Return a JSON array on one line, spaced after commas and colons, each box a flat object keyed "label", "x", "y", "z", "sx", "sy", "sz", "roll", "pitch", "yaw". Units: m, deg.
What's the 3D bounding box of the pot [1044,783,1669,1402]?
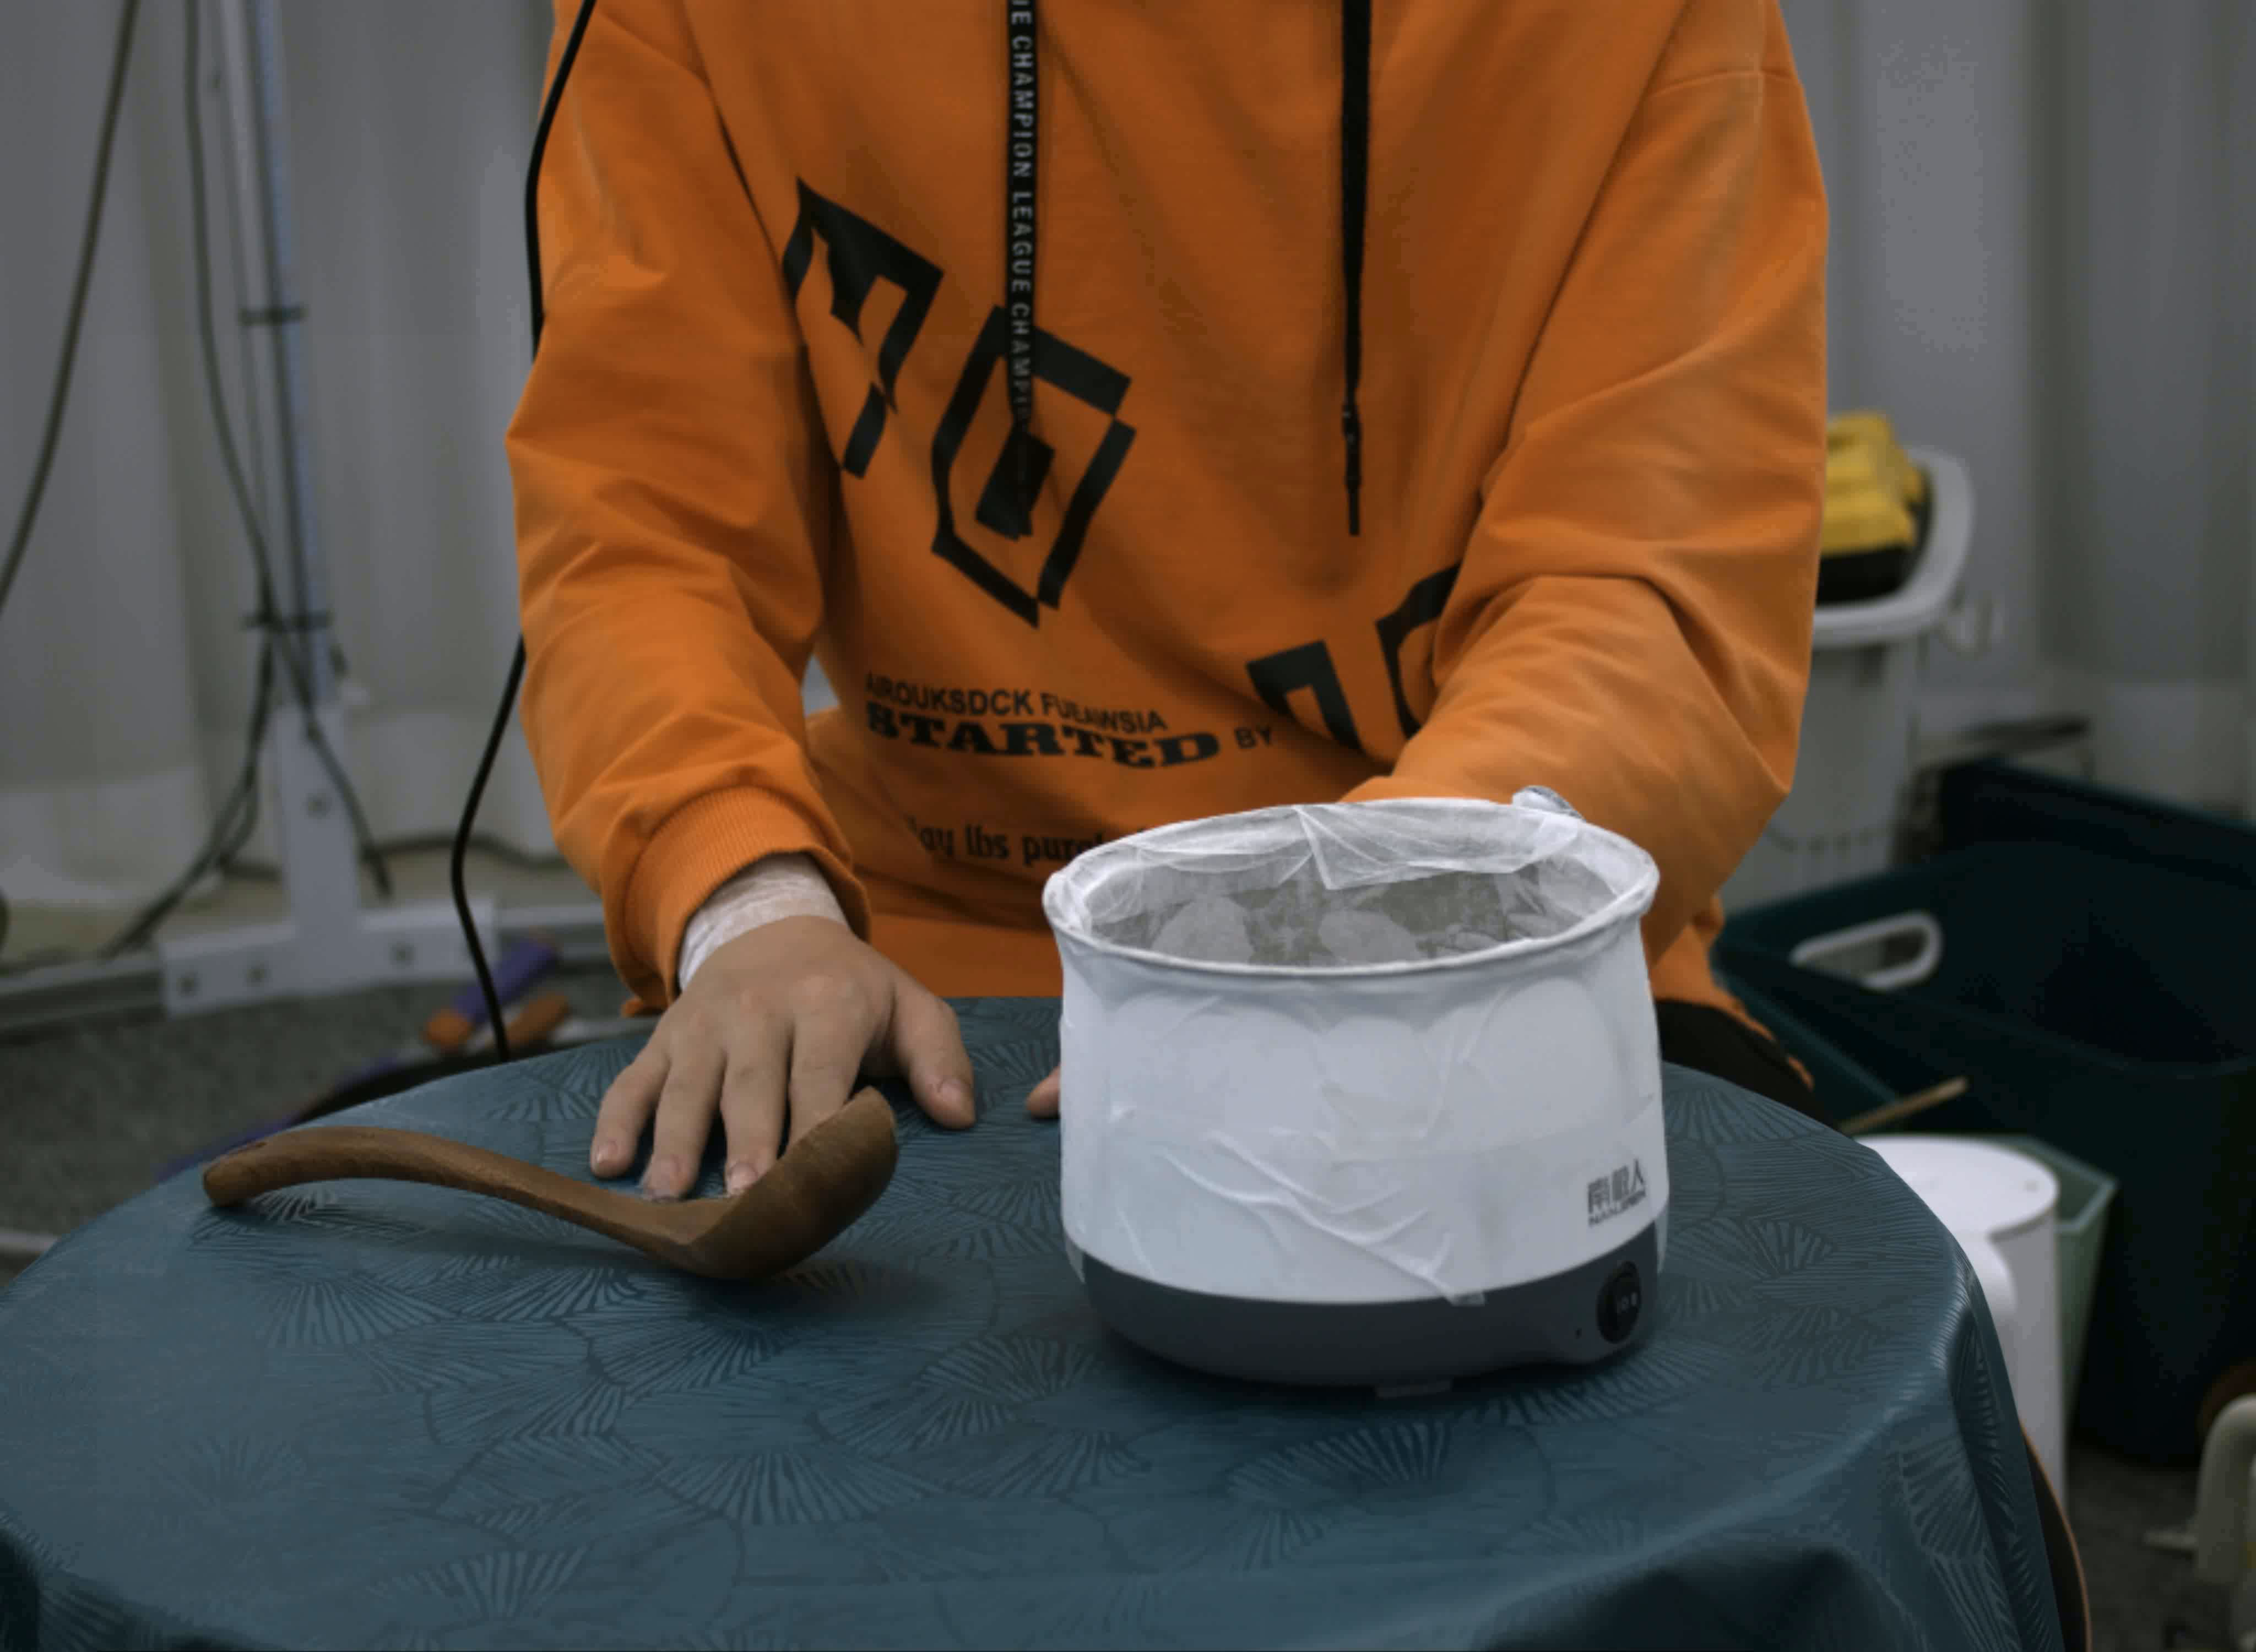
[{"label": "pot", "x": 0.083, "y": 0.070, "z": 1.601, "sx": 0.179, "sy": 0.136, "sz": 0.234, "roll": 8, "pitch": 18, "yaw": 34}]

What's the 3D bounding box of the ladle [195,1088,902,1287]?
[{"label": "ladle", "x": -0.185, "y": 0.100, "z": 1.684, "sx": 0.261, "sy": 0.065, "sz": 0.076, "roll": 6, "pitch": 18, "yaw": 30}]
